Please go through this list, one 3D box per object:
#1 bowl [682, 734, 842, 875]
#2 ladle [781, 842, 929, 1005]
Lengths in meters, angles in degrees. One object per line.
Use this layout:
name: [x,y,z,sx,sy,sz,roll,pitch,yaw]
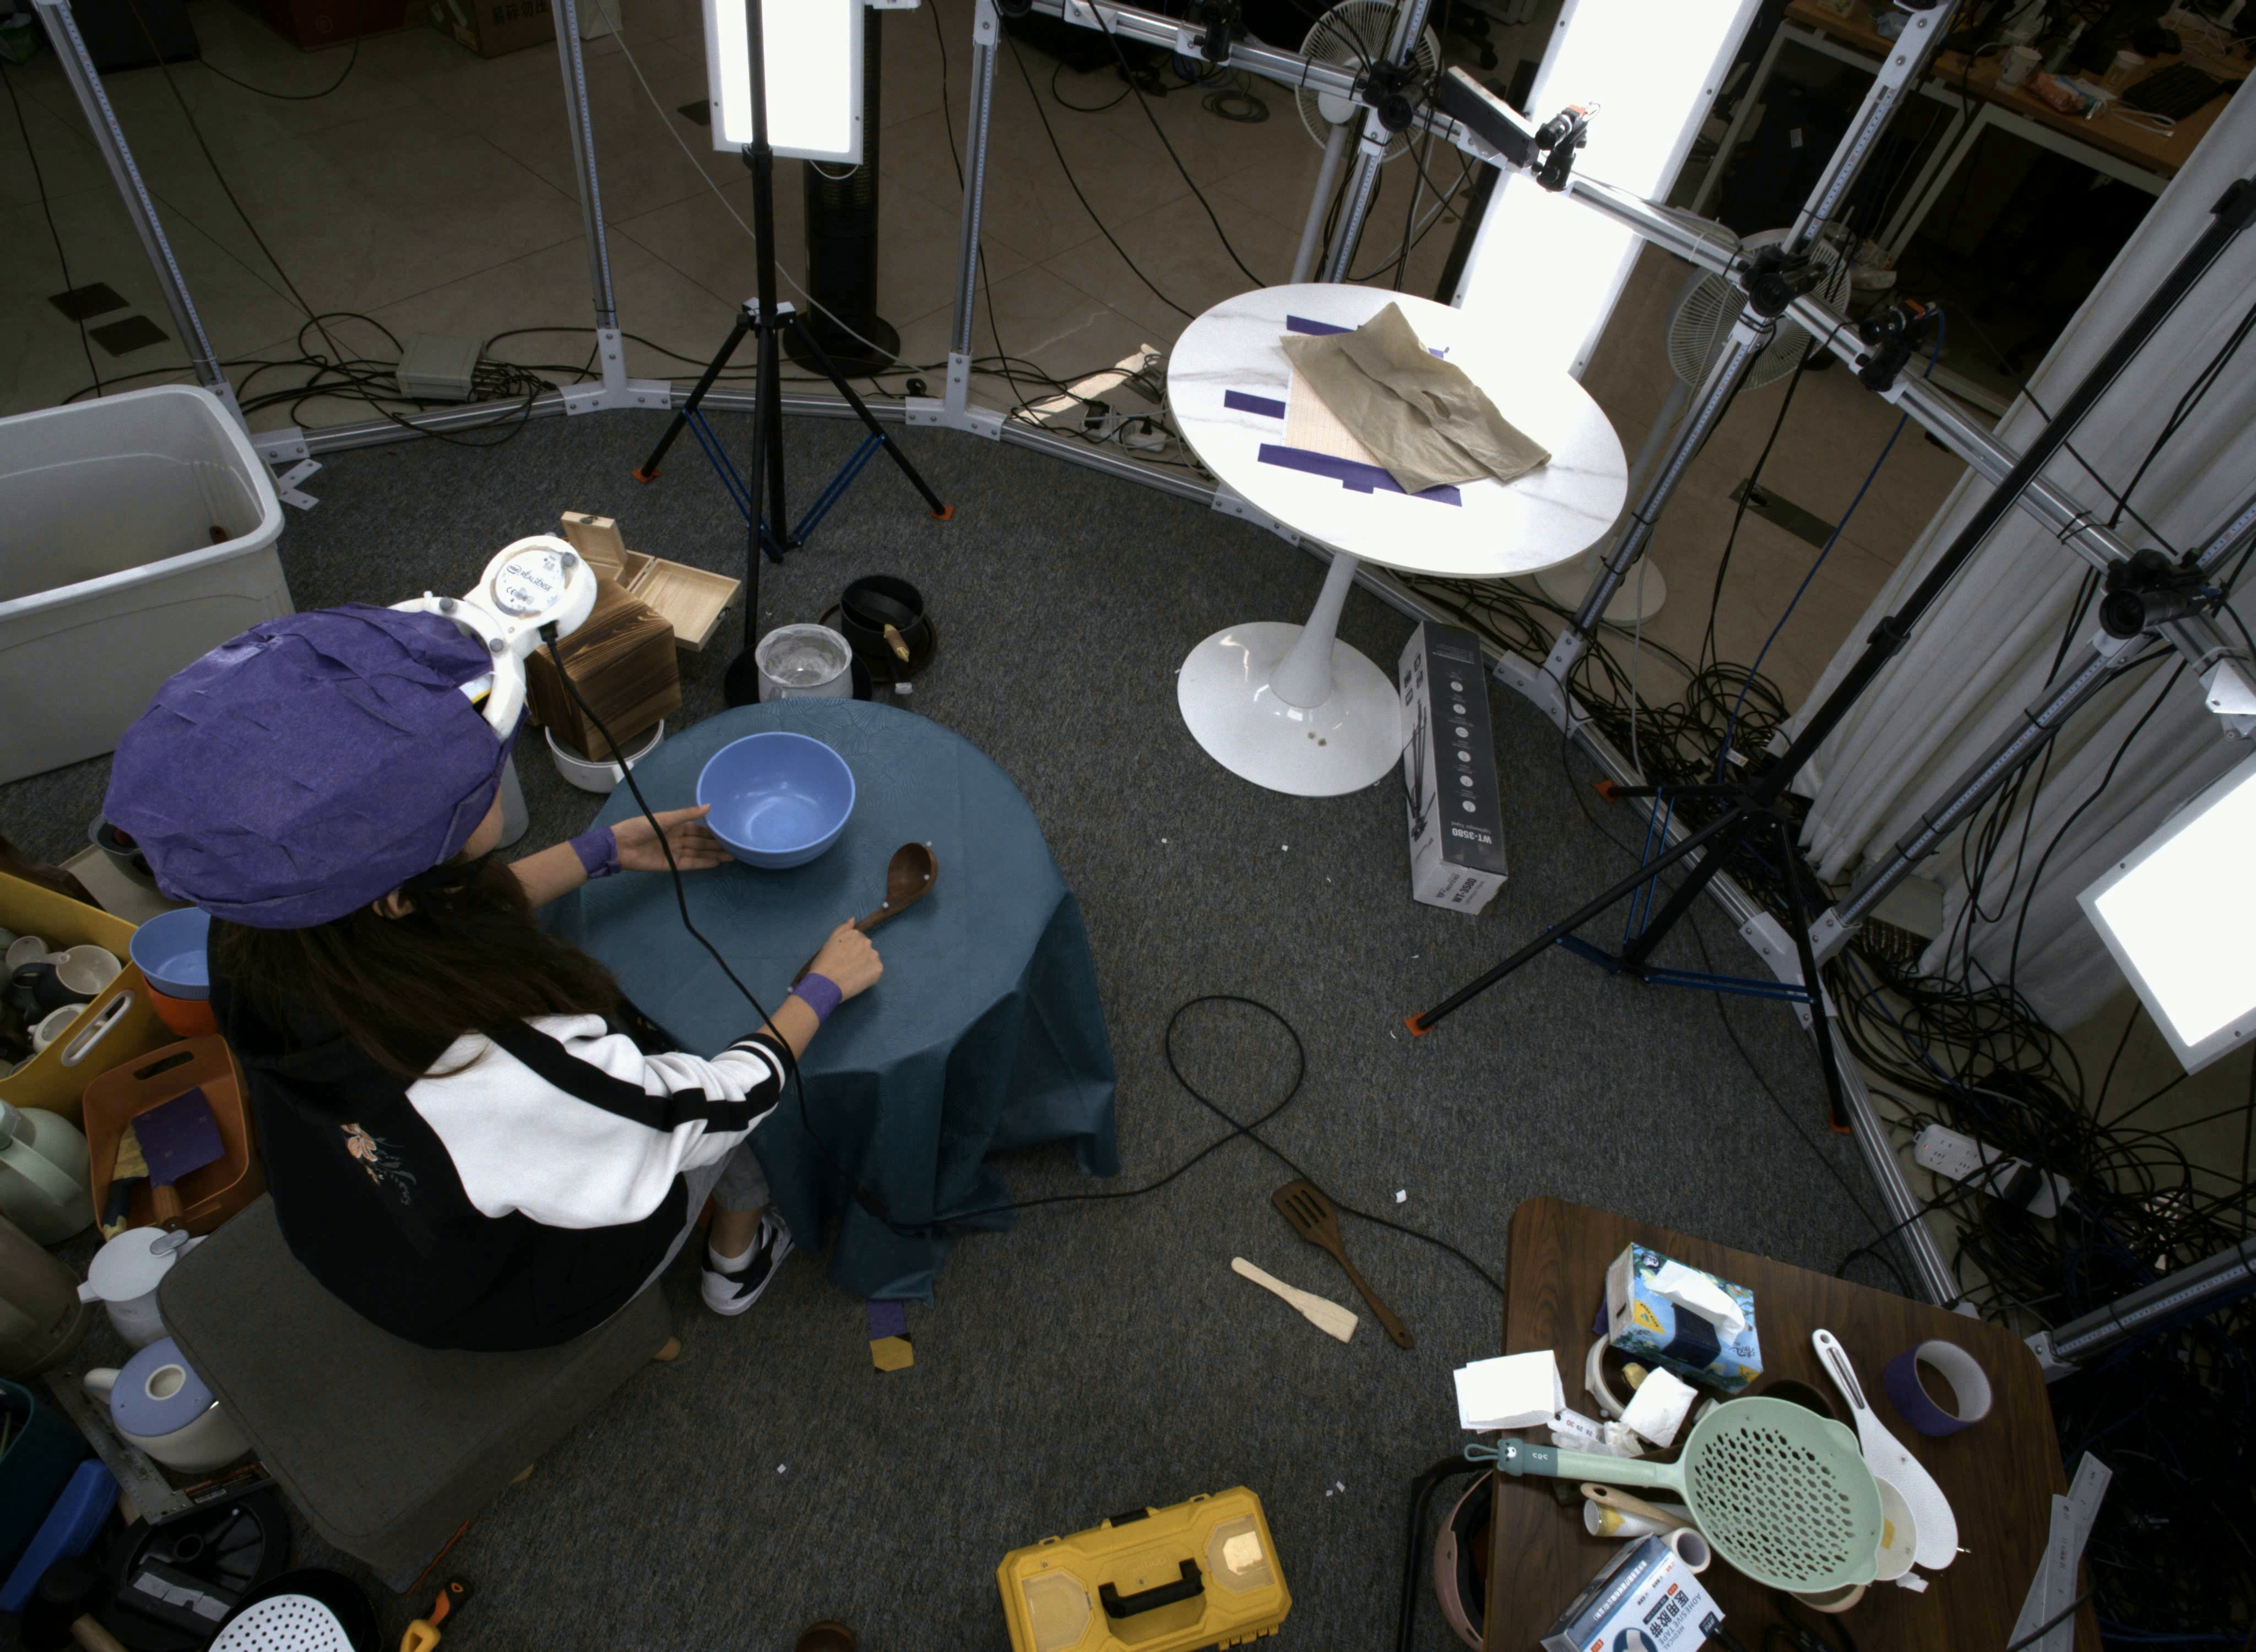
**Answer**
bowl: [-0.470,-0.014,1.657,0.197,0.097,0.193,12,51,-13]
ladle: [-0.344,0.115,1.615,0.074,0.067,0.260,15,45,35]
